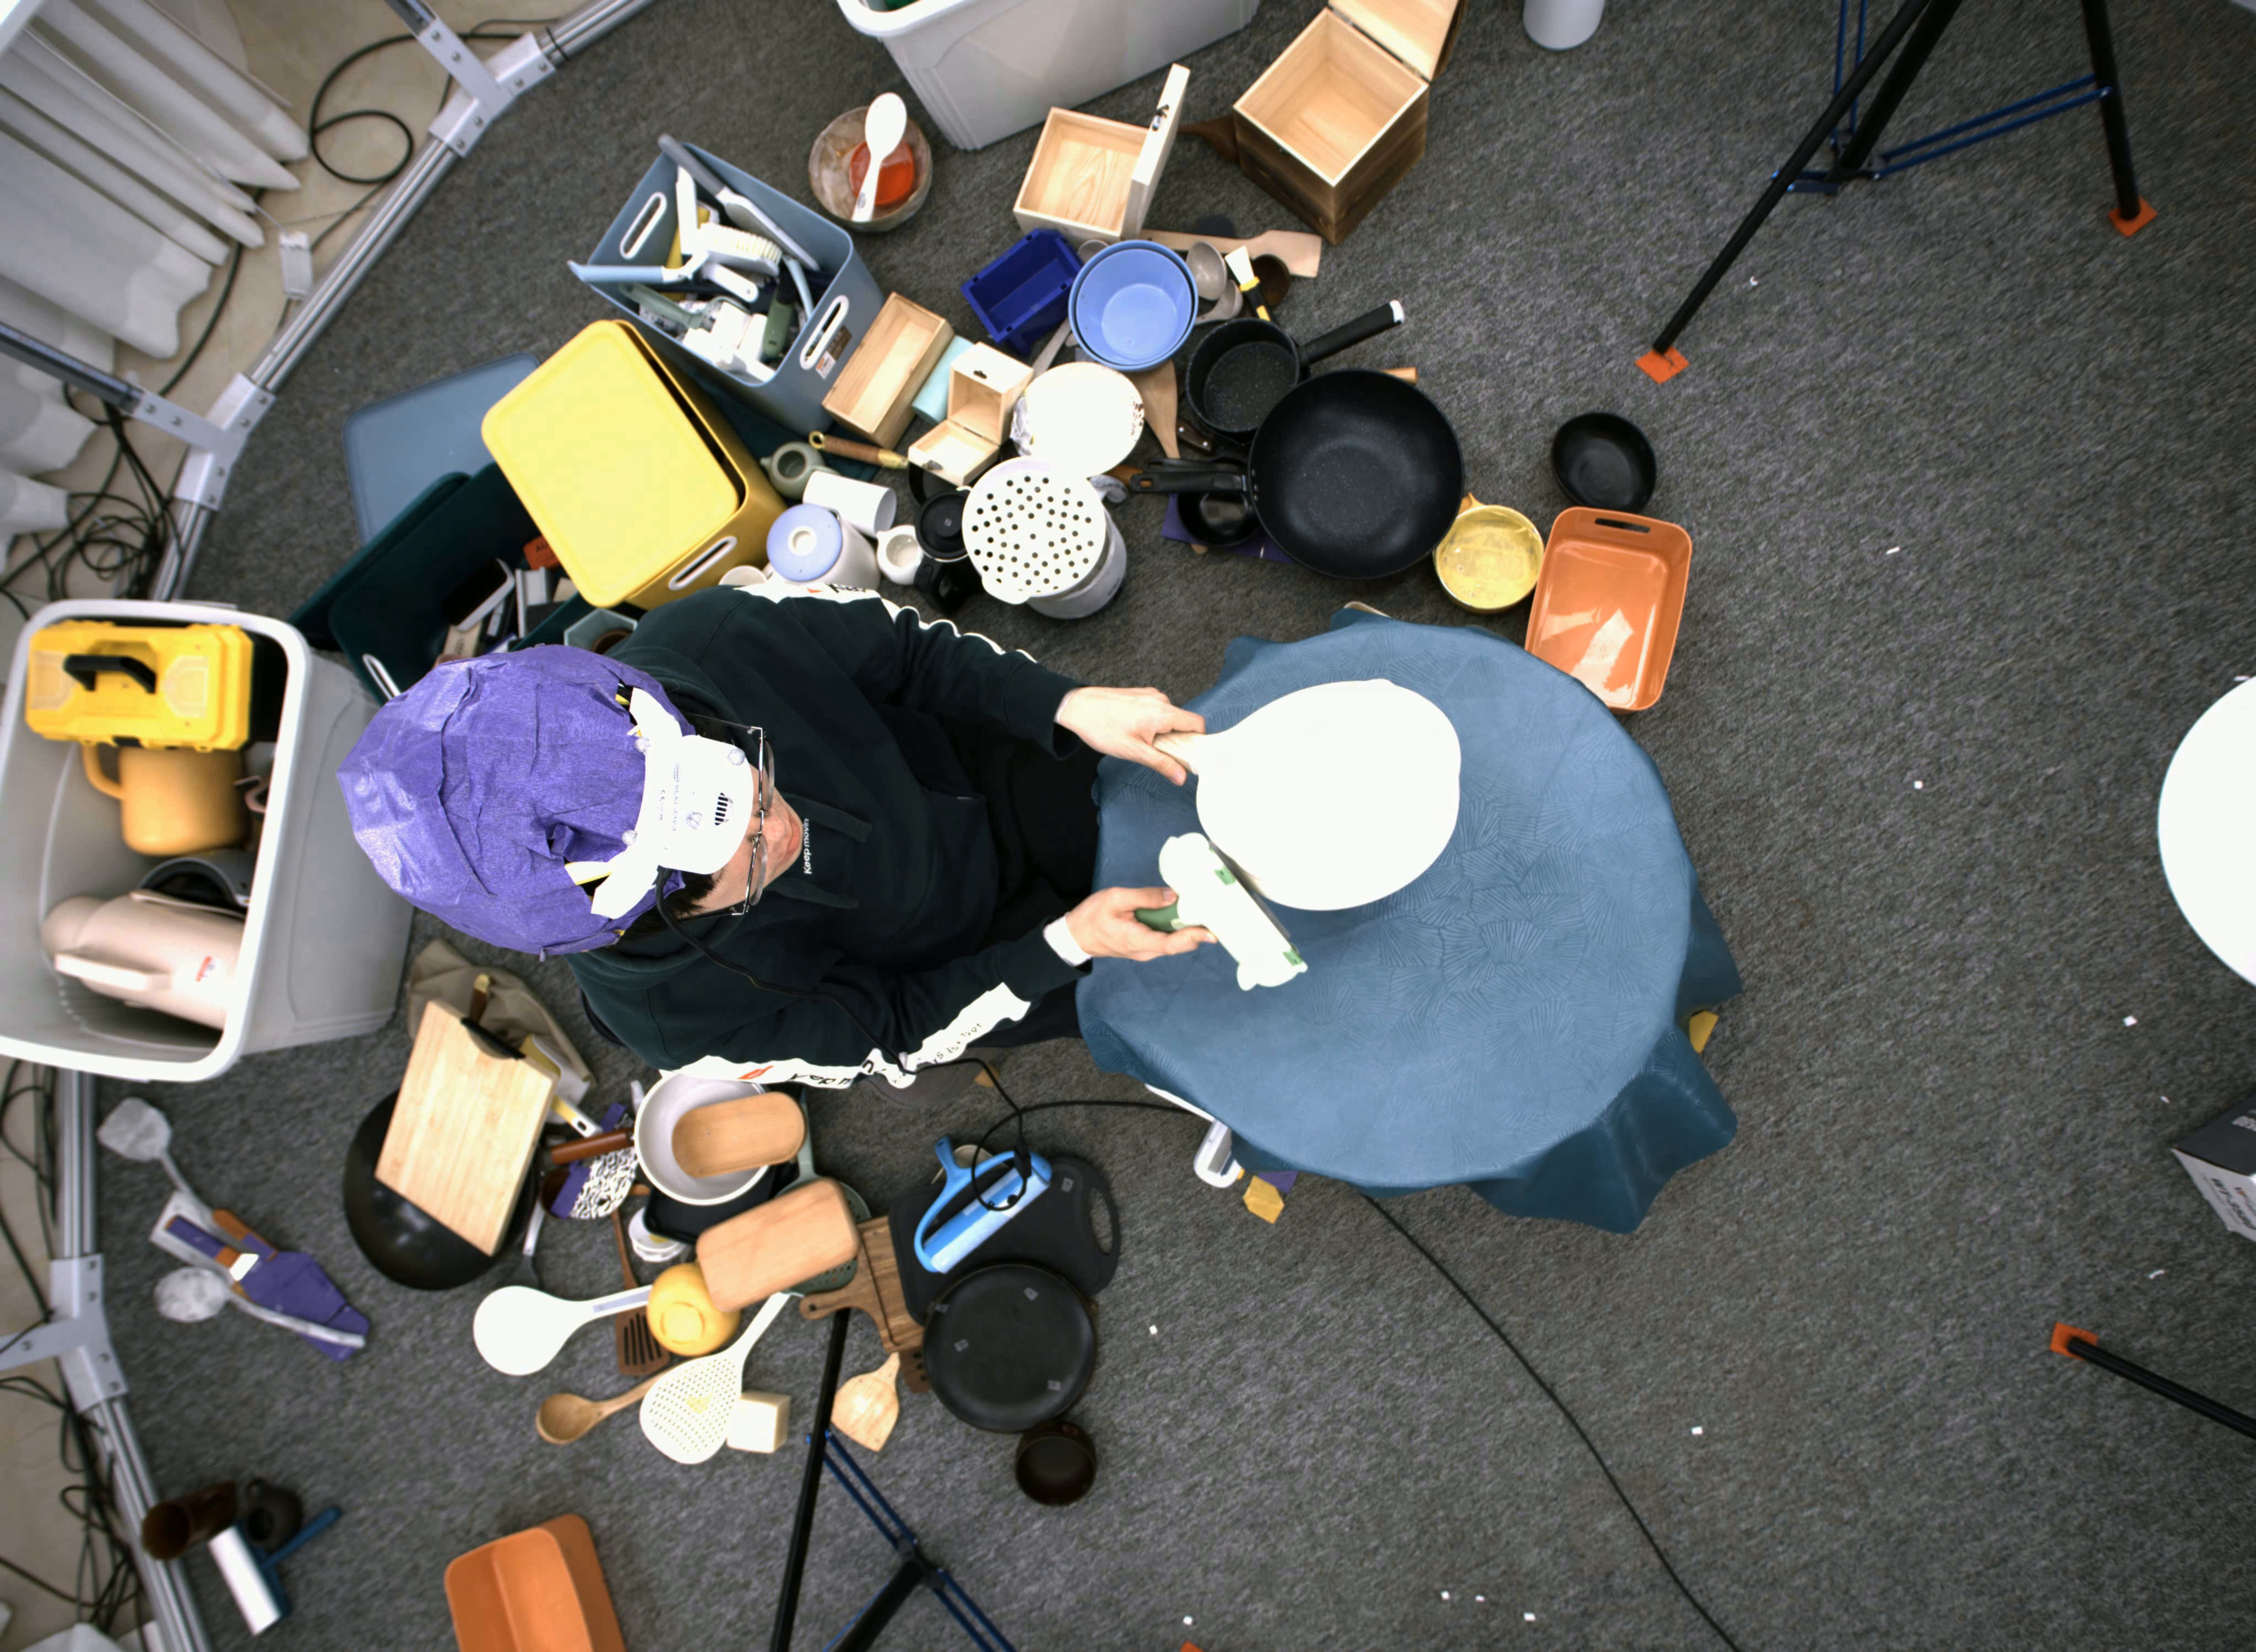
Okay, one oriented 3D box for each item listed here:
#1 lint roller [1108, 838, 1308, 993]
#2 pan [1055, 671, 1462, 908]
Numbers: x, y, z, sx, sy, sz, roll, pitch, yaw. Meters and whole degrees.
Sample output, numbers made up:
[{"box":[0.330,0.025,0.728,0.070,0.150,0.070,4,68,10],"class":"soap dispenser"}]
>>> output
[{"box":[0.052,0.100,1.335,0.185,0.201,0.080,-12,48,32],"class":"lint roller"},{"box":[0.121,-0.051,1.362,0.435,0.104,0.258,13,59,34],"class":"pan"}]
